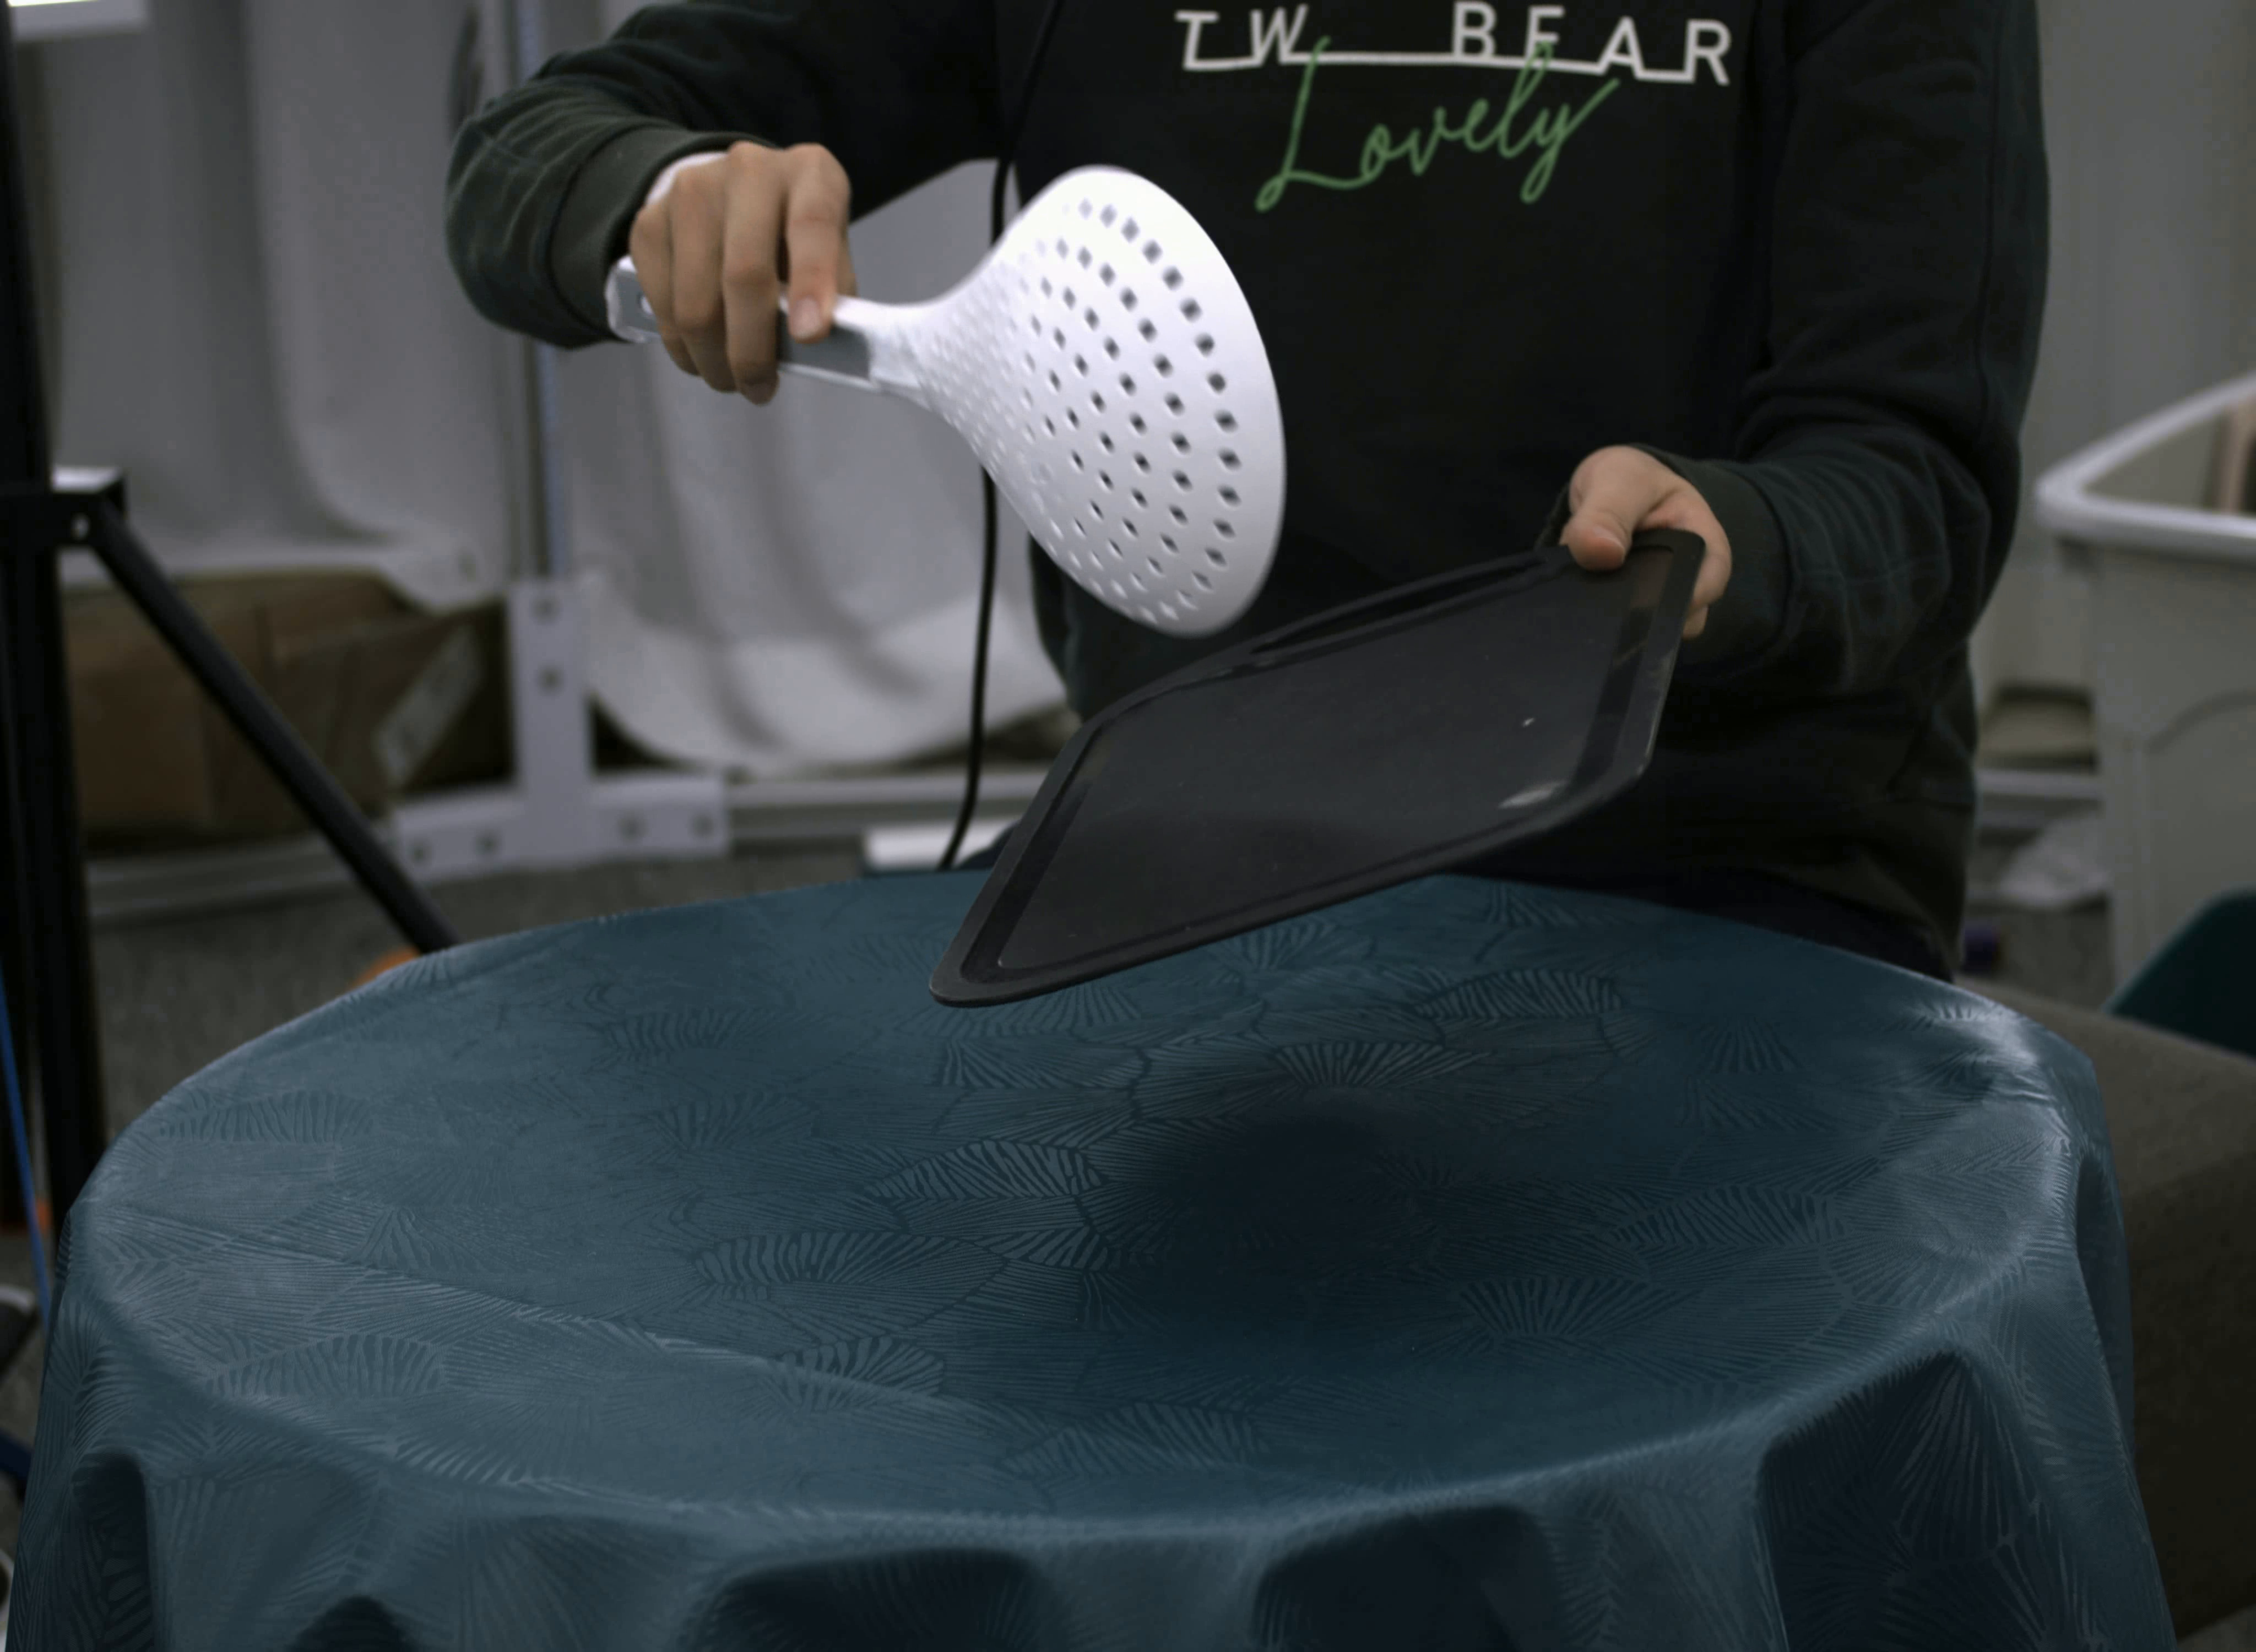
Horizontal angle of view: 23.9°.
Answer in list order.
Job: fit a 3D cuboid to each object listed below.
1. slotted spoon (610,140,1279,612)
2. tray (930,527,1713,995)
[{"bbox_3d":[-0.065,-0.145,1.613,0.045,0.136,0.357,-13,17,-27],"label":"slotted spoon"},{"bbox_3d":[0.062,-0.026,1.539,0.212,0.010,0.324,-17,15,16],"label":"tray"}]
